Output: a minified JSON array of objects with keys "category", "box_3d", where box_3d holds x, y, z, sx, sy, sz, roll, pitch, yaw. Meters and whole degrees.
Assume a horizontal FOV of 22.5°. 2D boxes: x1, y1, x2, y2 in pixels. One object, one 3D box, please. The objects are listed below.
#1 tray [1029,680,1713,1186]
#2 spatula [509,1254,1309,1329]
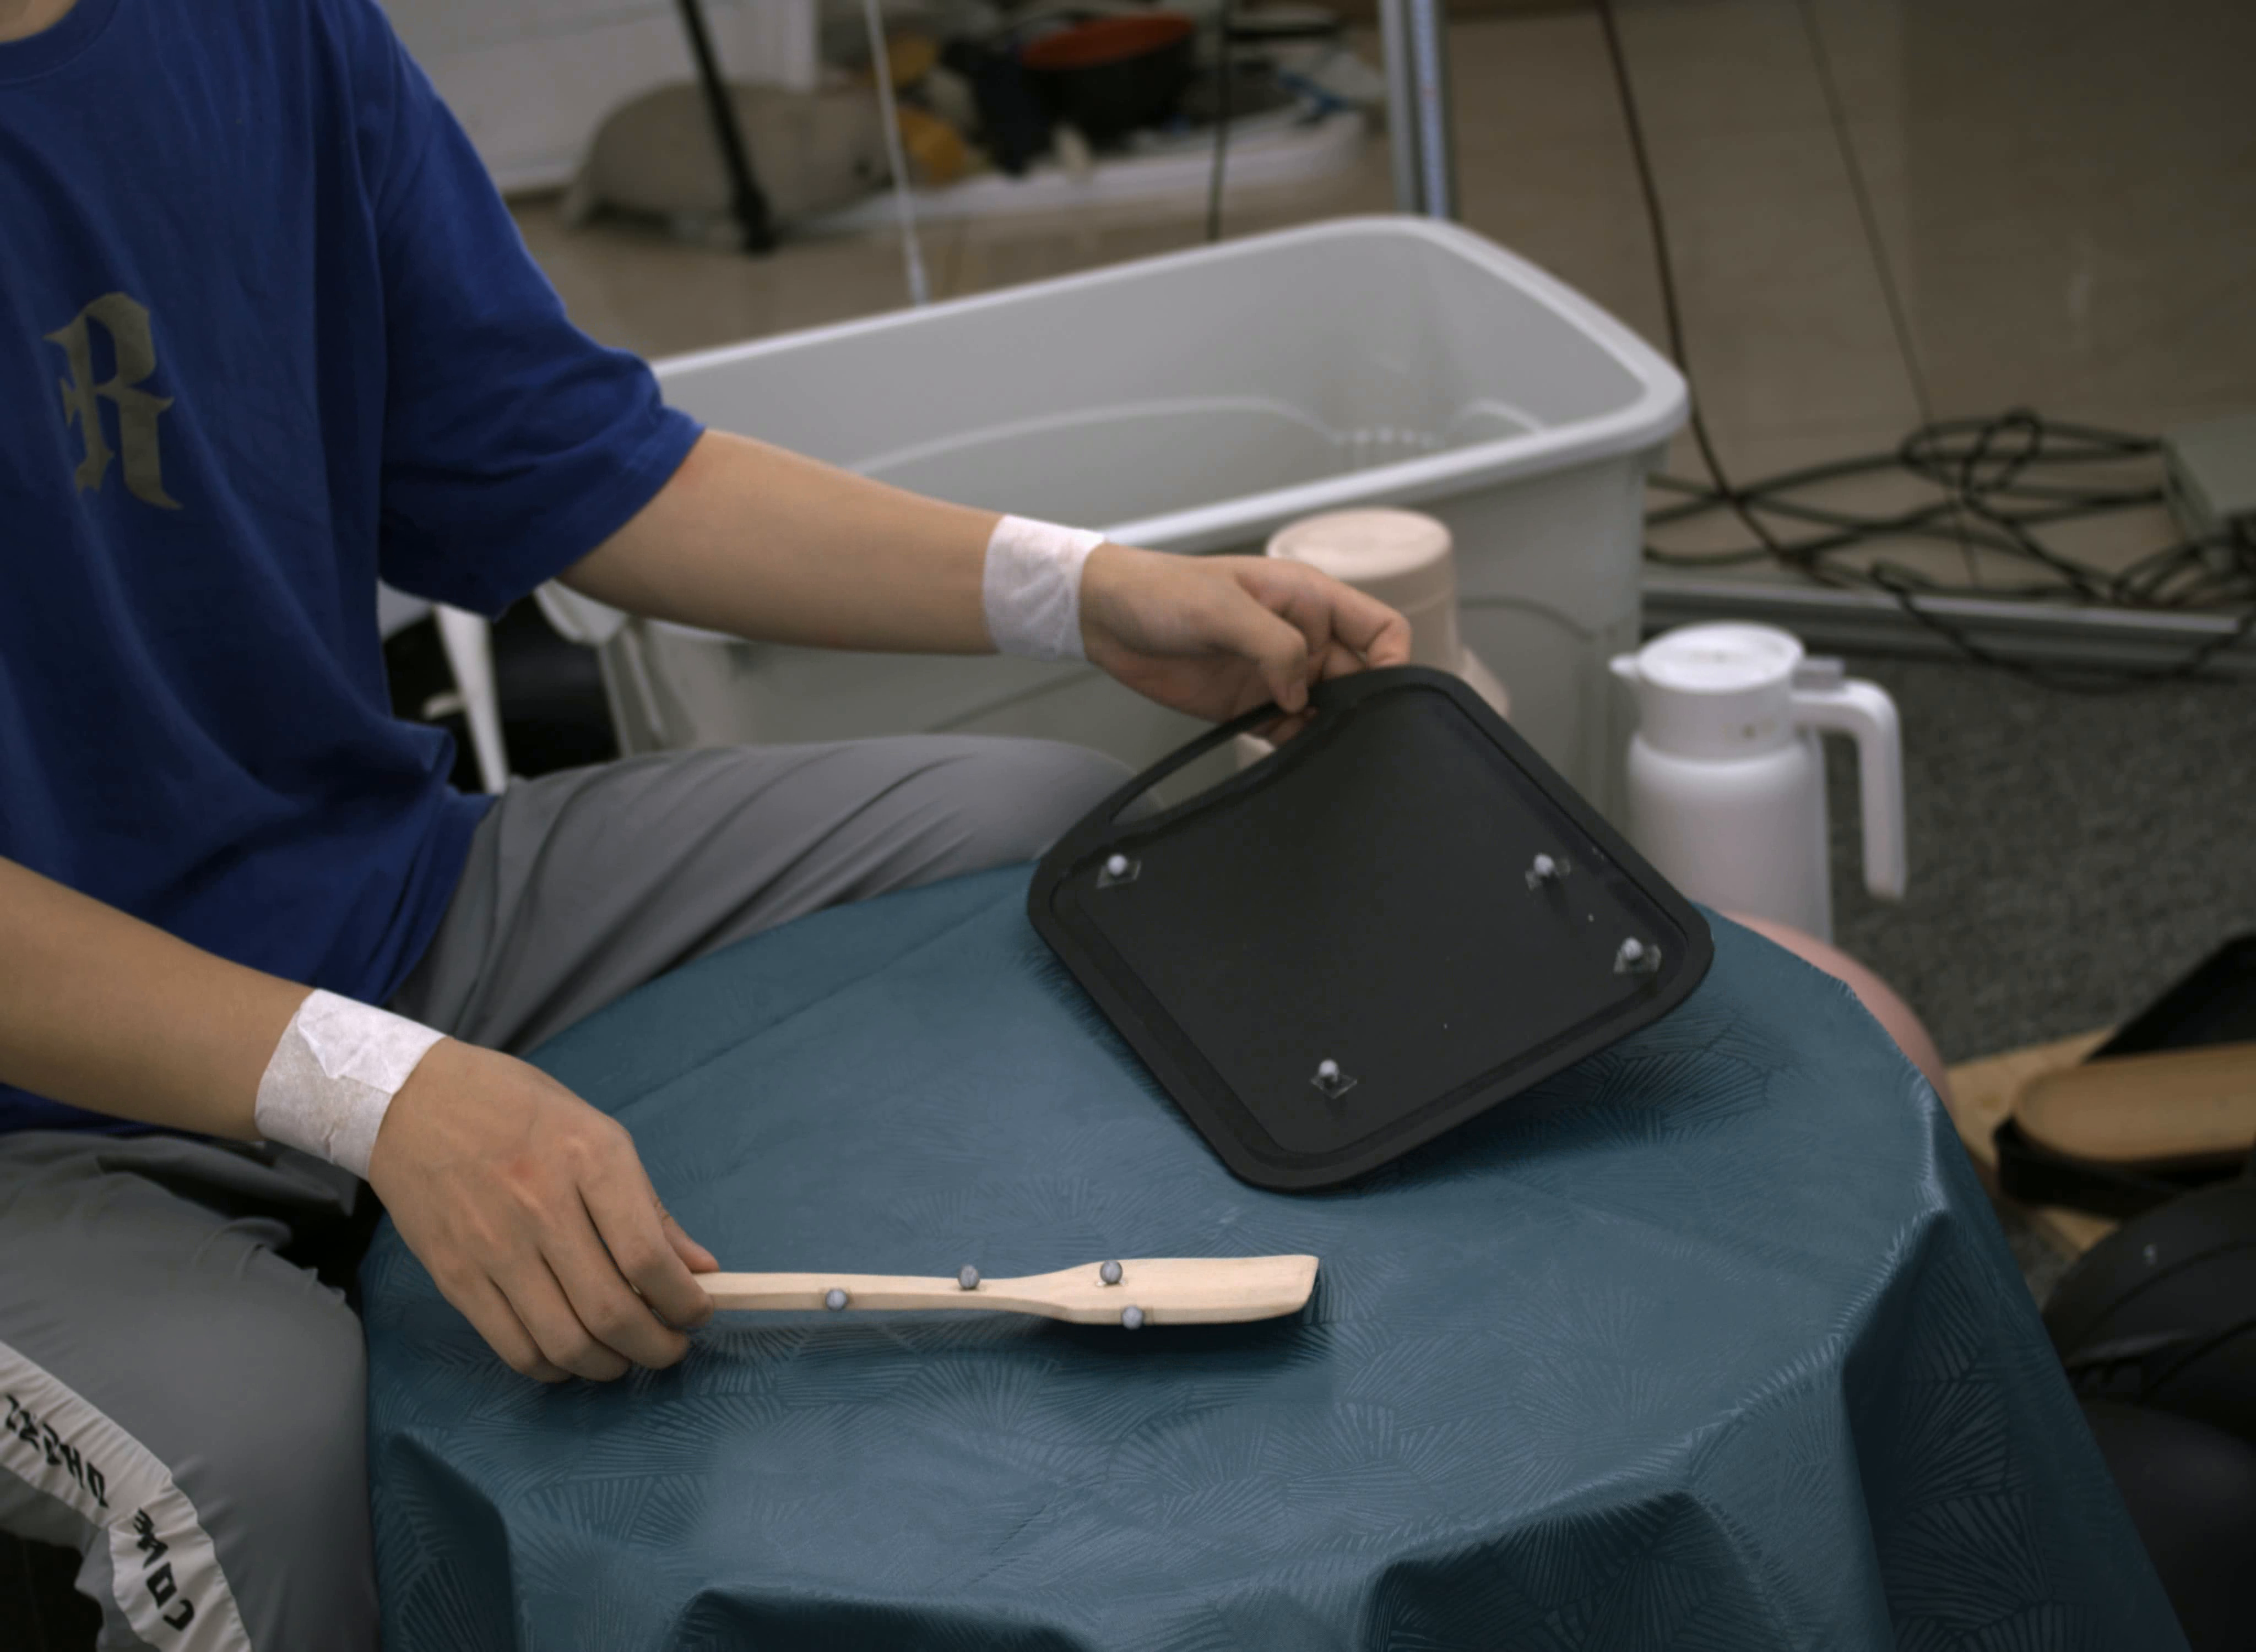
[{"category":"tray","box_3d":[0.087,0.033,2.264,0.210,0.010,0.321,-27,33,-8]},{"category":"spatula","box_3d":[-0.081,0.169,2.063,0.292,0.011,0.071,0,13,6]}]
